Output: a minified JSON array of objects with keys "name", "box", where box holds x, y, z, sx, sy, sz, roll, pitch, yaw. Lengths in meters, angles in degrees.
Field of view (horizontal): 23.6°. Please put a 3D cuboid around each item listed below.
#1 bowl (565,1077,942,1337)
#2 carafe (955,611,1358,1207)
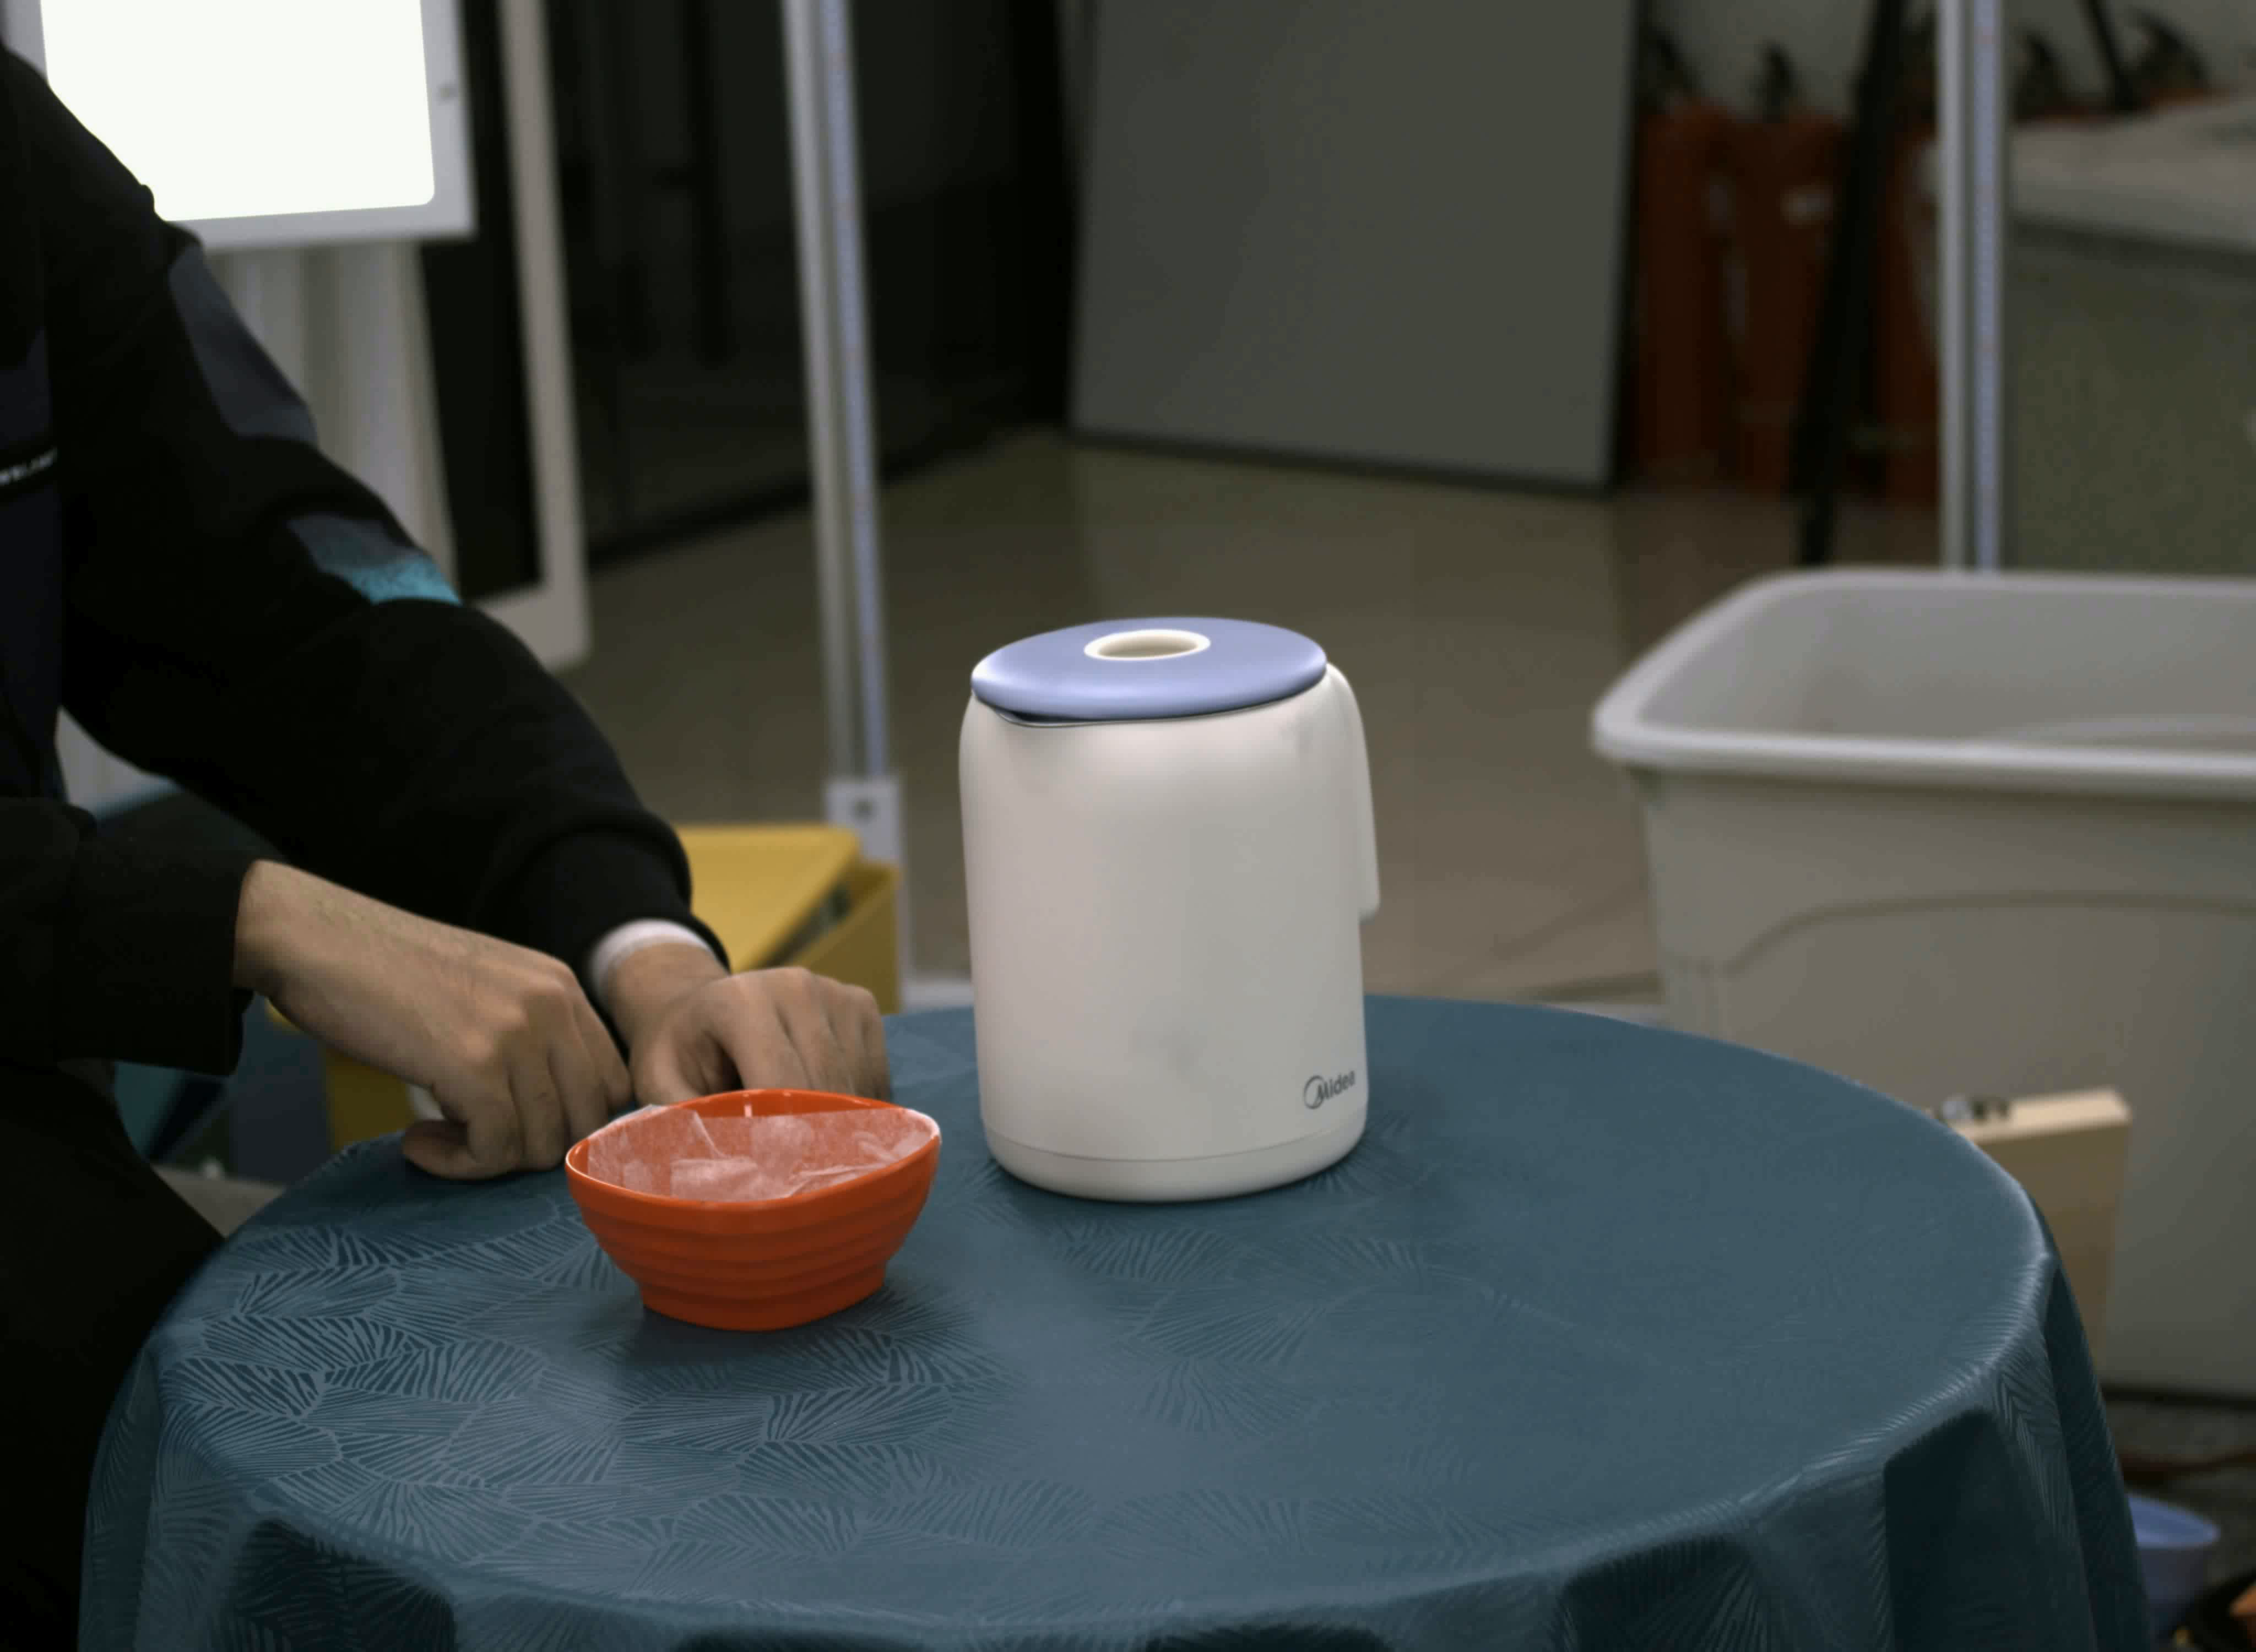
[{"name":"bowl","box":[-0.115,0.121,1.689,0.117,0.052,0.119,-3,17,0]},{"name":"carafe","box":[0.024,0.022,1.811,0.133,0.184,0.187,7,15,34]}]
